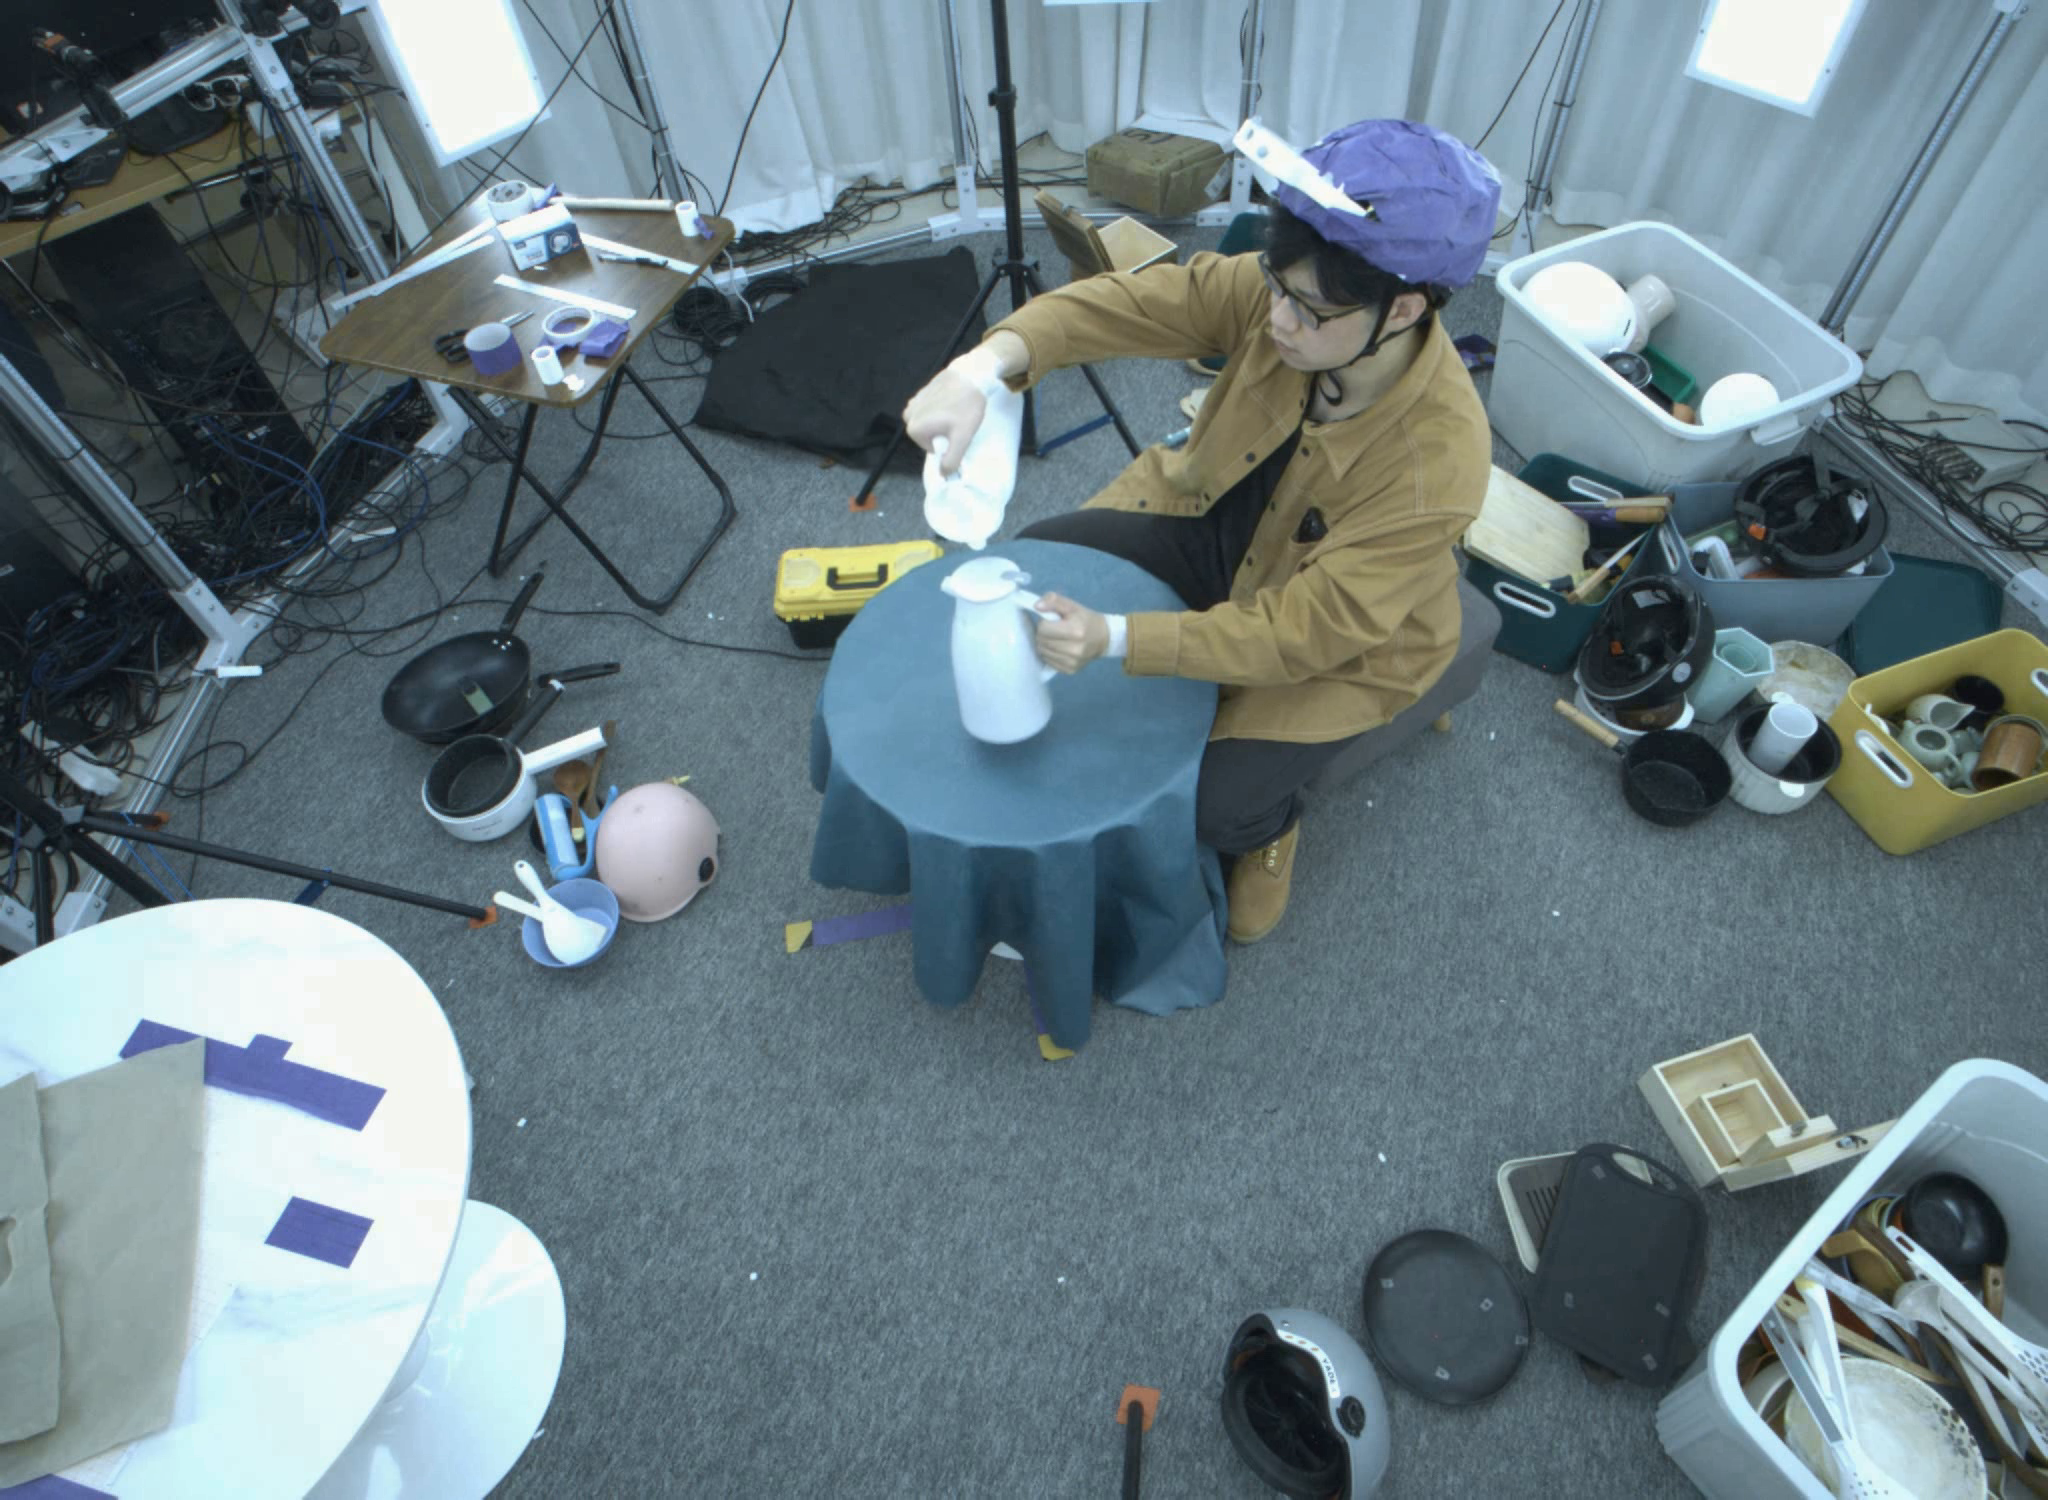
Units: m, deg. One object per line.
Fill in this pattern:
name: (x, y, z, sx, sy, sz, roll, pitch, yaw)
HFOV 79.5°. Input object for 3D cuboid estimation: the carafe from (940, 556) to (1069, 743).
carafe: (-0.020, -0.140, 1.658, 0.166, 0.252, 0.132, 9, 48, 15)

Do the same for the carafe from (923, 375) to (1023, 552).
carafe: (-0.074, -0.400, 1.573, 0.123, 0.176, 0.266, -8, 45, 15)
